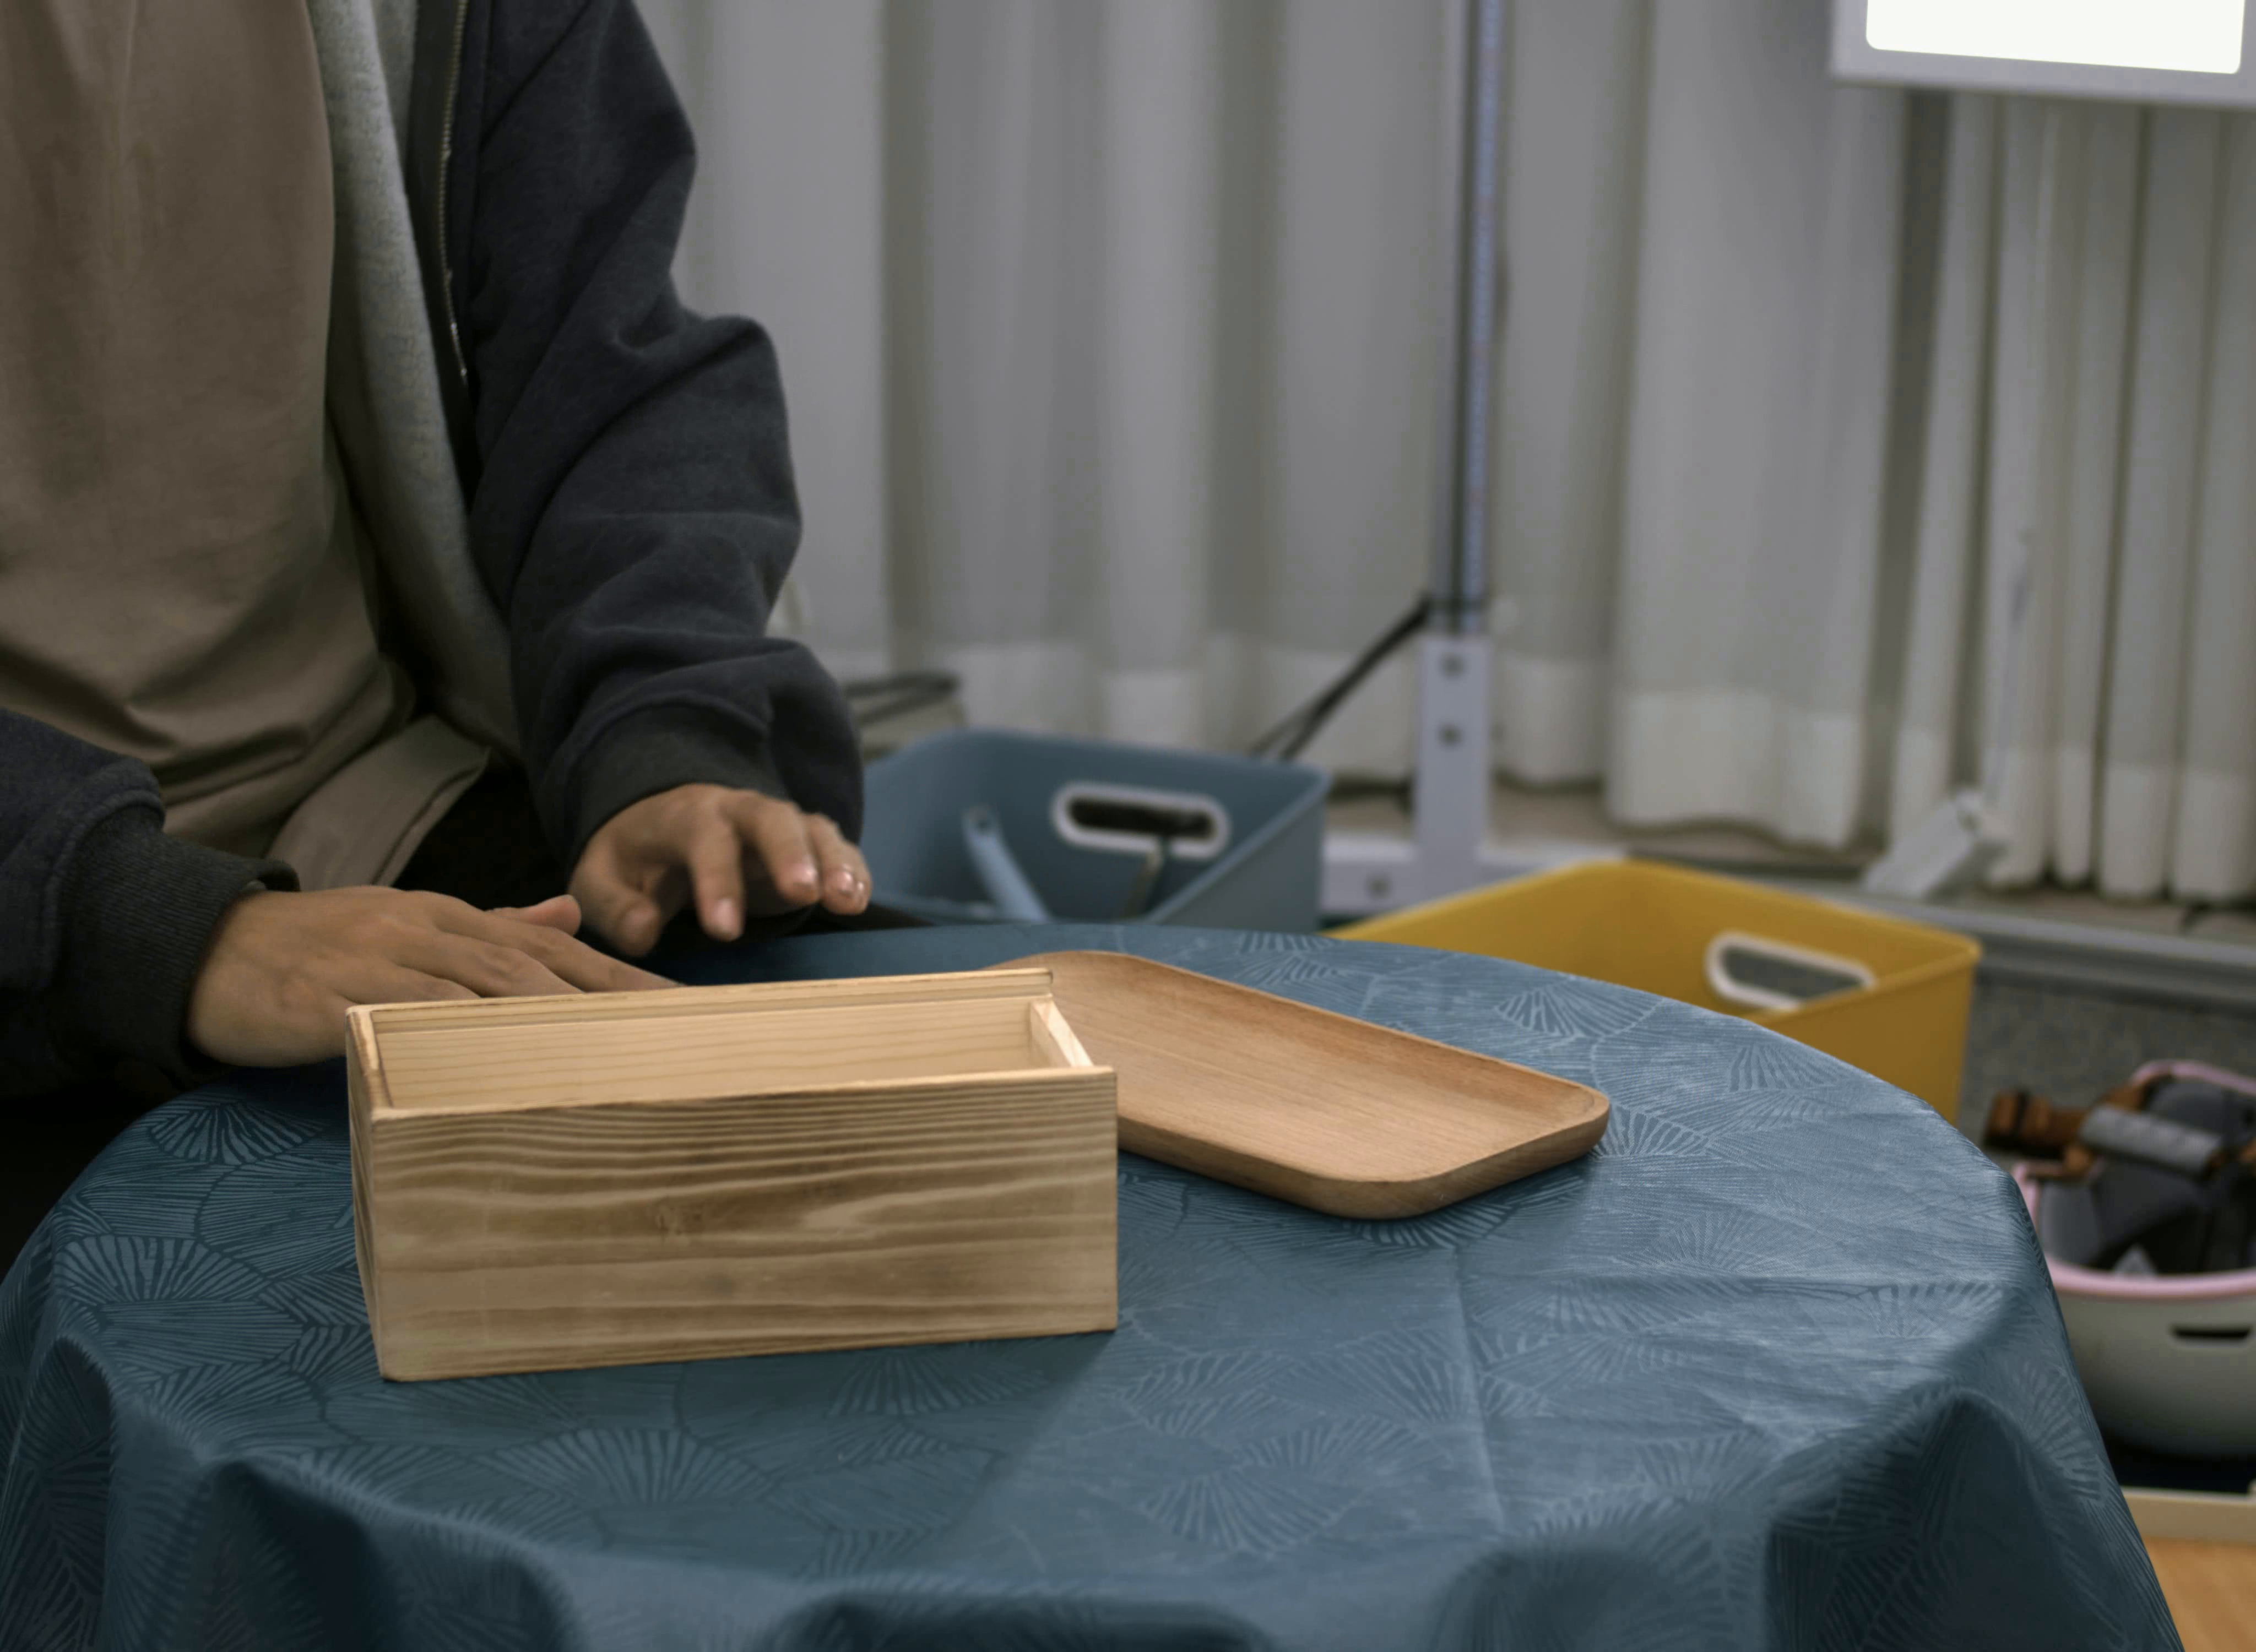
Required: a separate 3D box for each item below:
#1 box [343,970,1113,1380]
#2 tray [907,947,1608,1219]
[{"bbox_3d":[-0.117,0.098,1.521,0.211,0.081,0.106,-3,16,-12],"label":"box"},{"bbox_3d":[0.030,0.081,1.705,0.247,0.023,0.131,14,18,42],"label":"tray"}]
